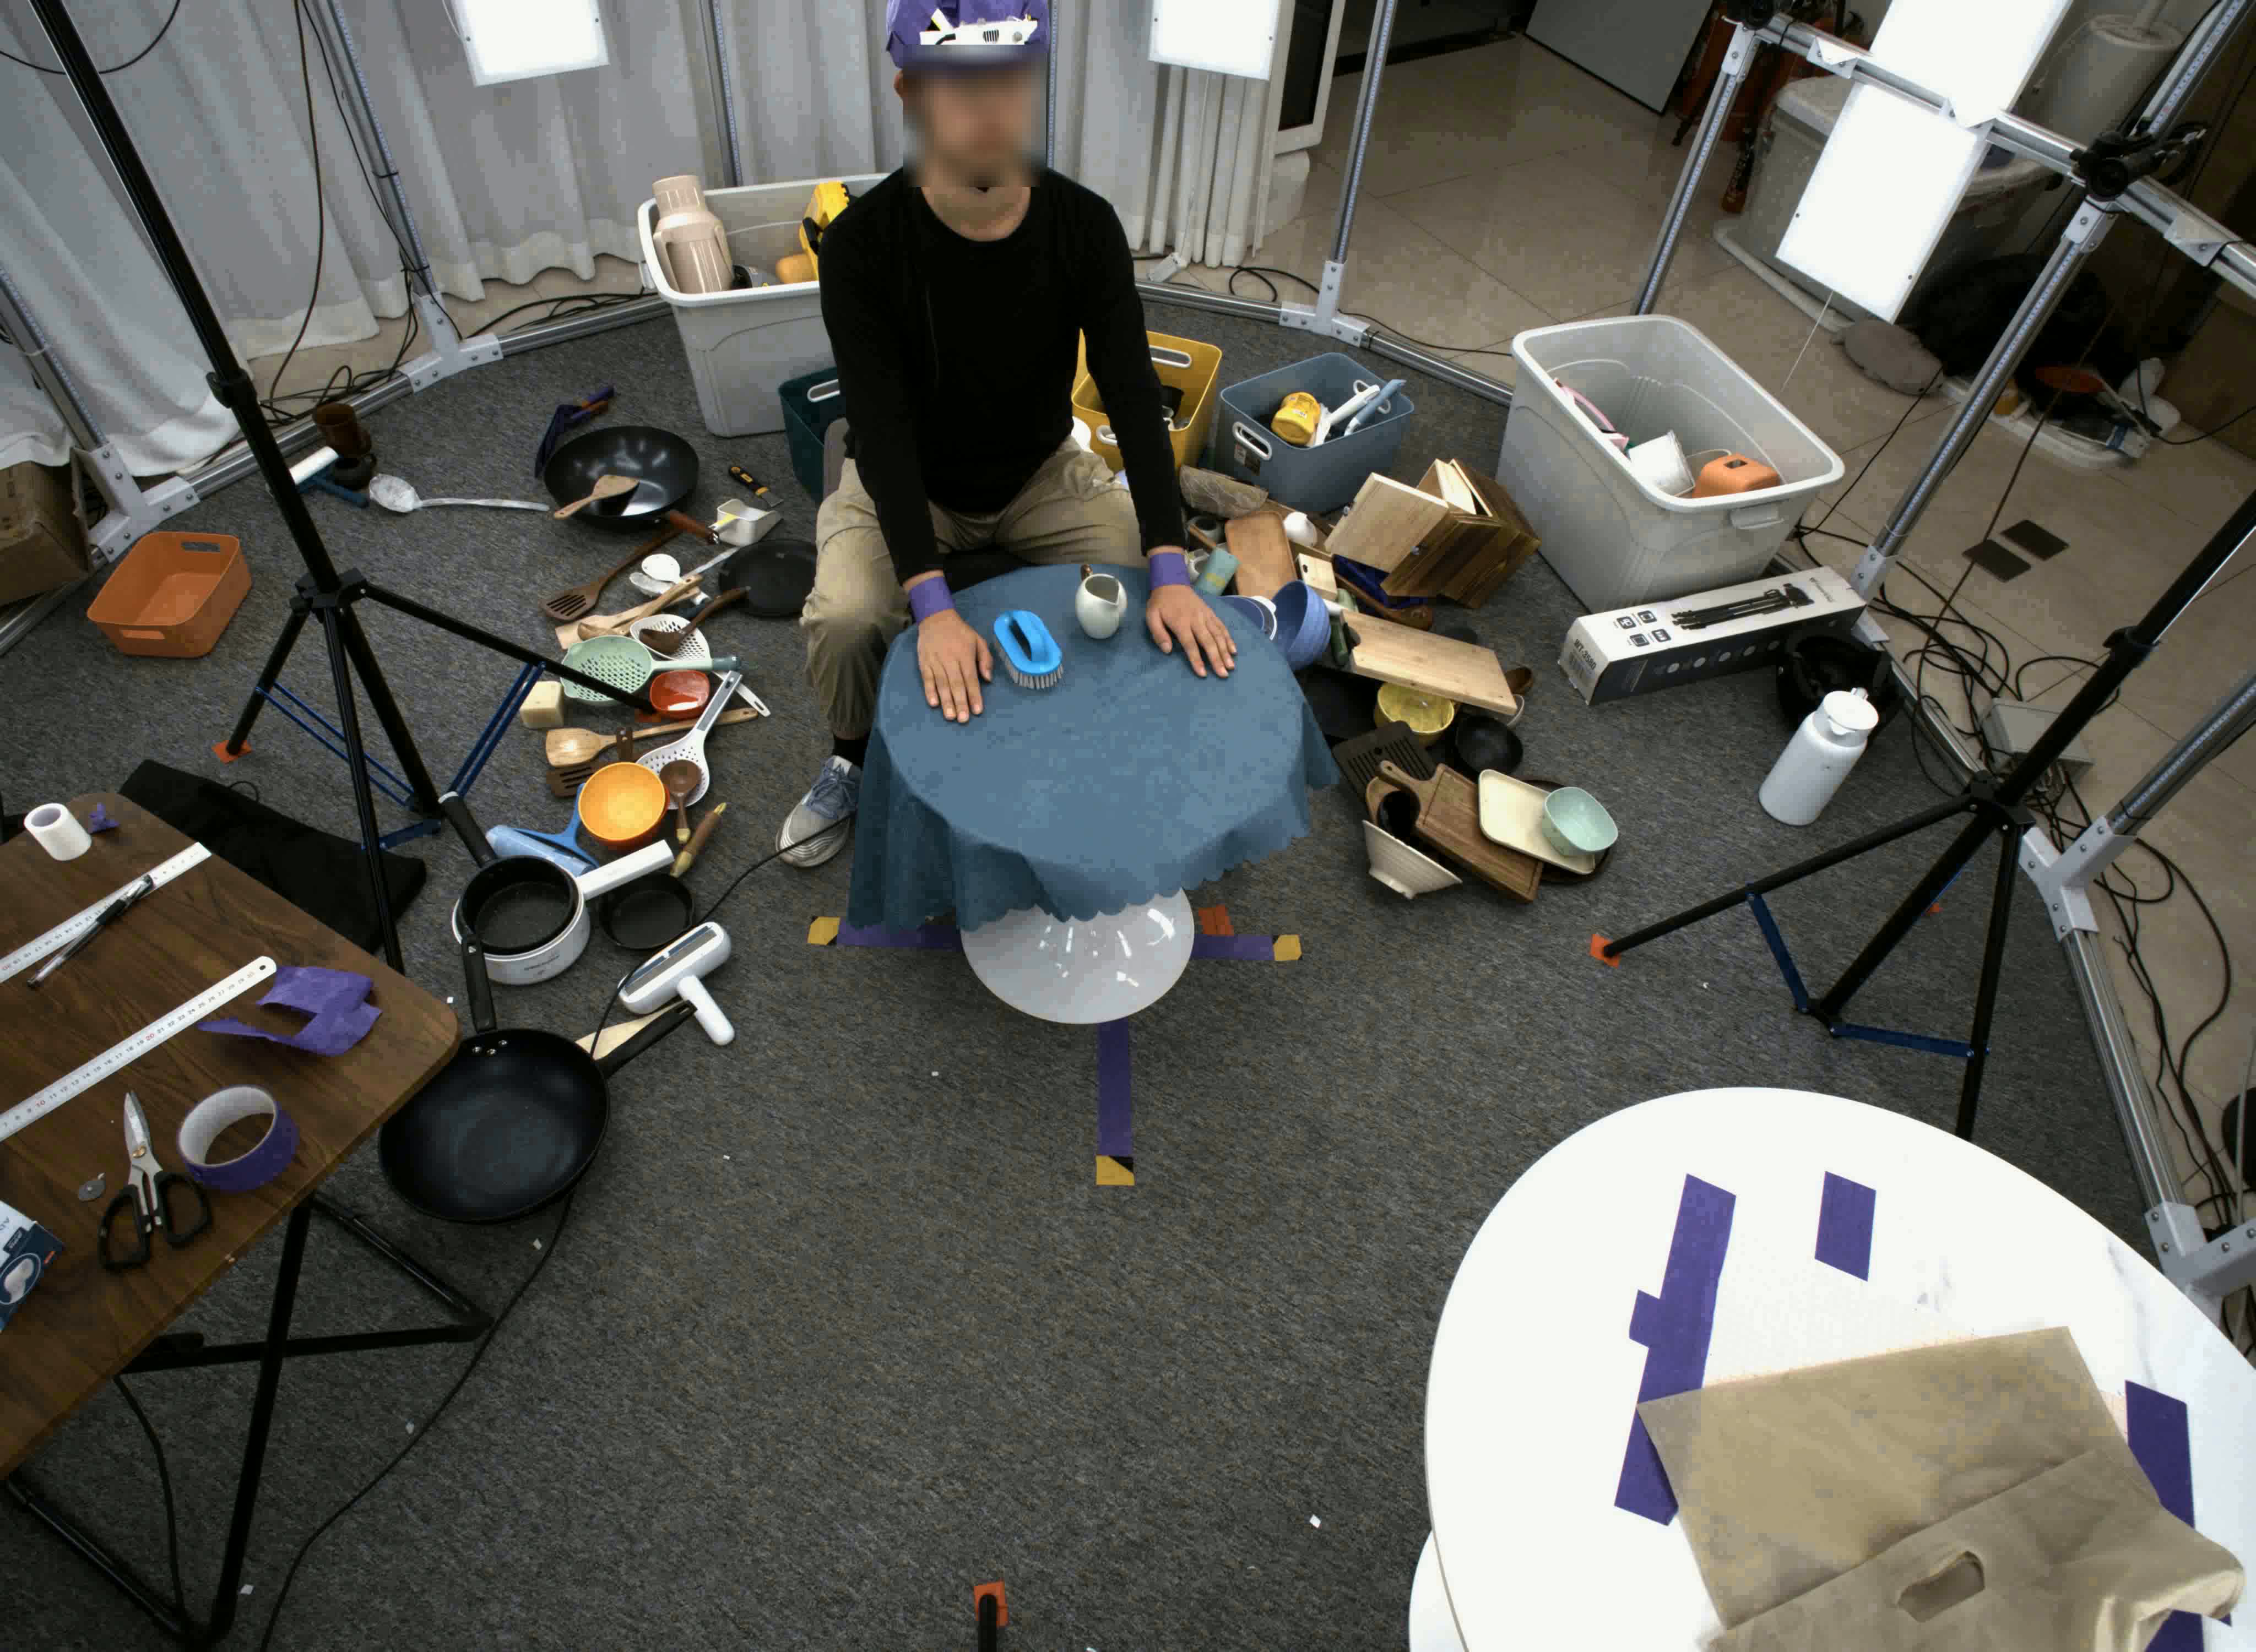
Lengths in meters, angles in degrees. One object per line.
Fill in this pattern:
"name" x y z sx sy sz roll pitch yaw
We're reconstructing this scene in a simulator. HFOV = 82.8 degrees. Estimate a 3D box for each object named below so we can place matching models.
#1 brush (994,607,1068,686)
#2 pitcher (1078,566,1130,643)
"brush" -0.142 -0.269 1.848 0.084 0.062 0.145 -19 52 -14
"pitcher" -0.039 -0.321 1.887 0.076 0.086 0.122 -11 54 -21
